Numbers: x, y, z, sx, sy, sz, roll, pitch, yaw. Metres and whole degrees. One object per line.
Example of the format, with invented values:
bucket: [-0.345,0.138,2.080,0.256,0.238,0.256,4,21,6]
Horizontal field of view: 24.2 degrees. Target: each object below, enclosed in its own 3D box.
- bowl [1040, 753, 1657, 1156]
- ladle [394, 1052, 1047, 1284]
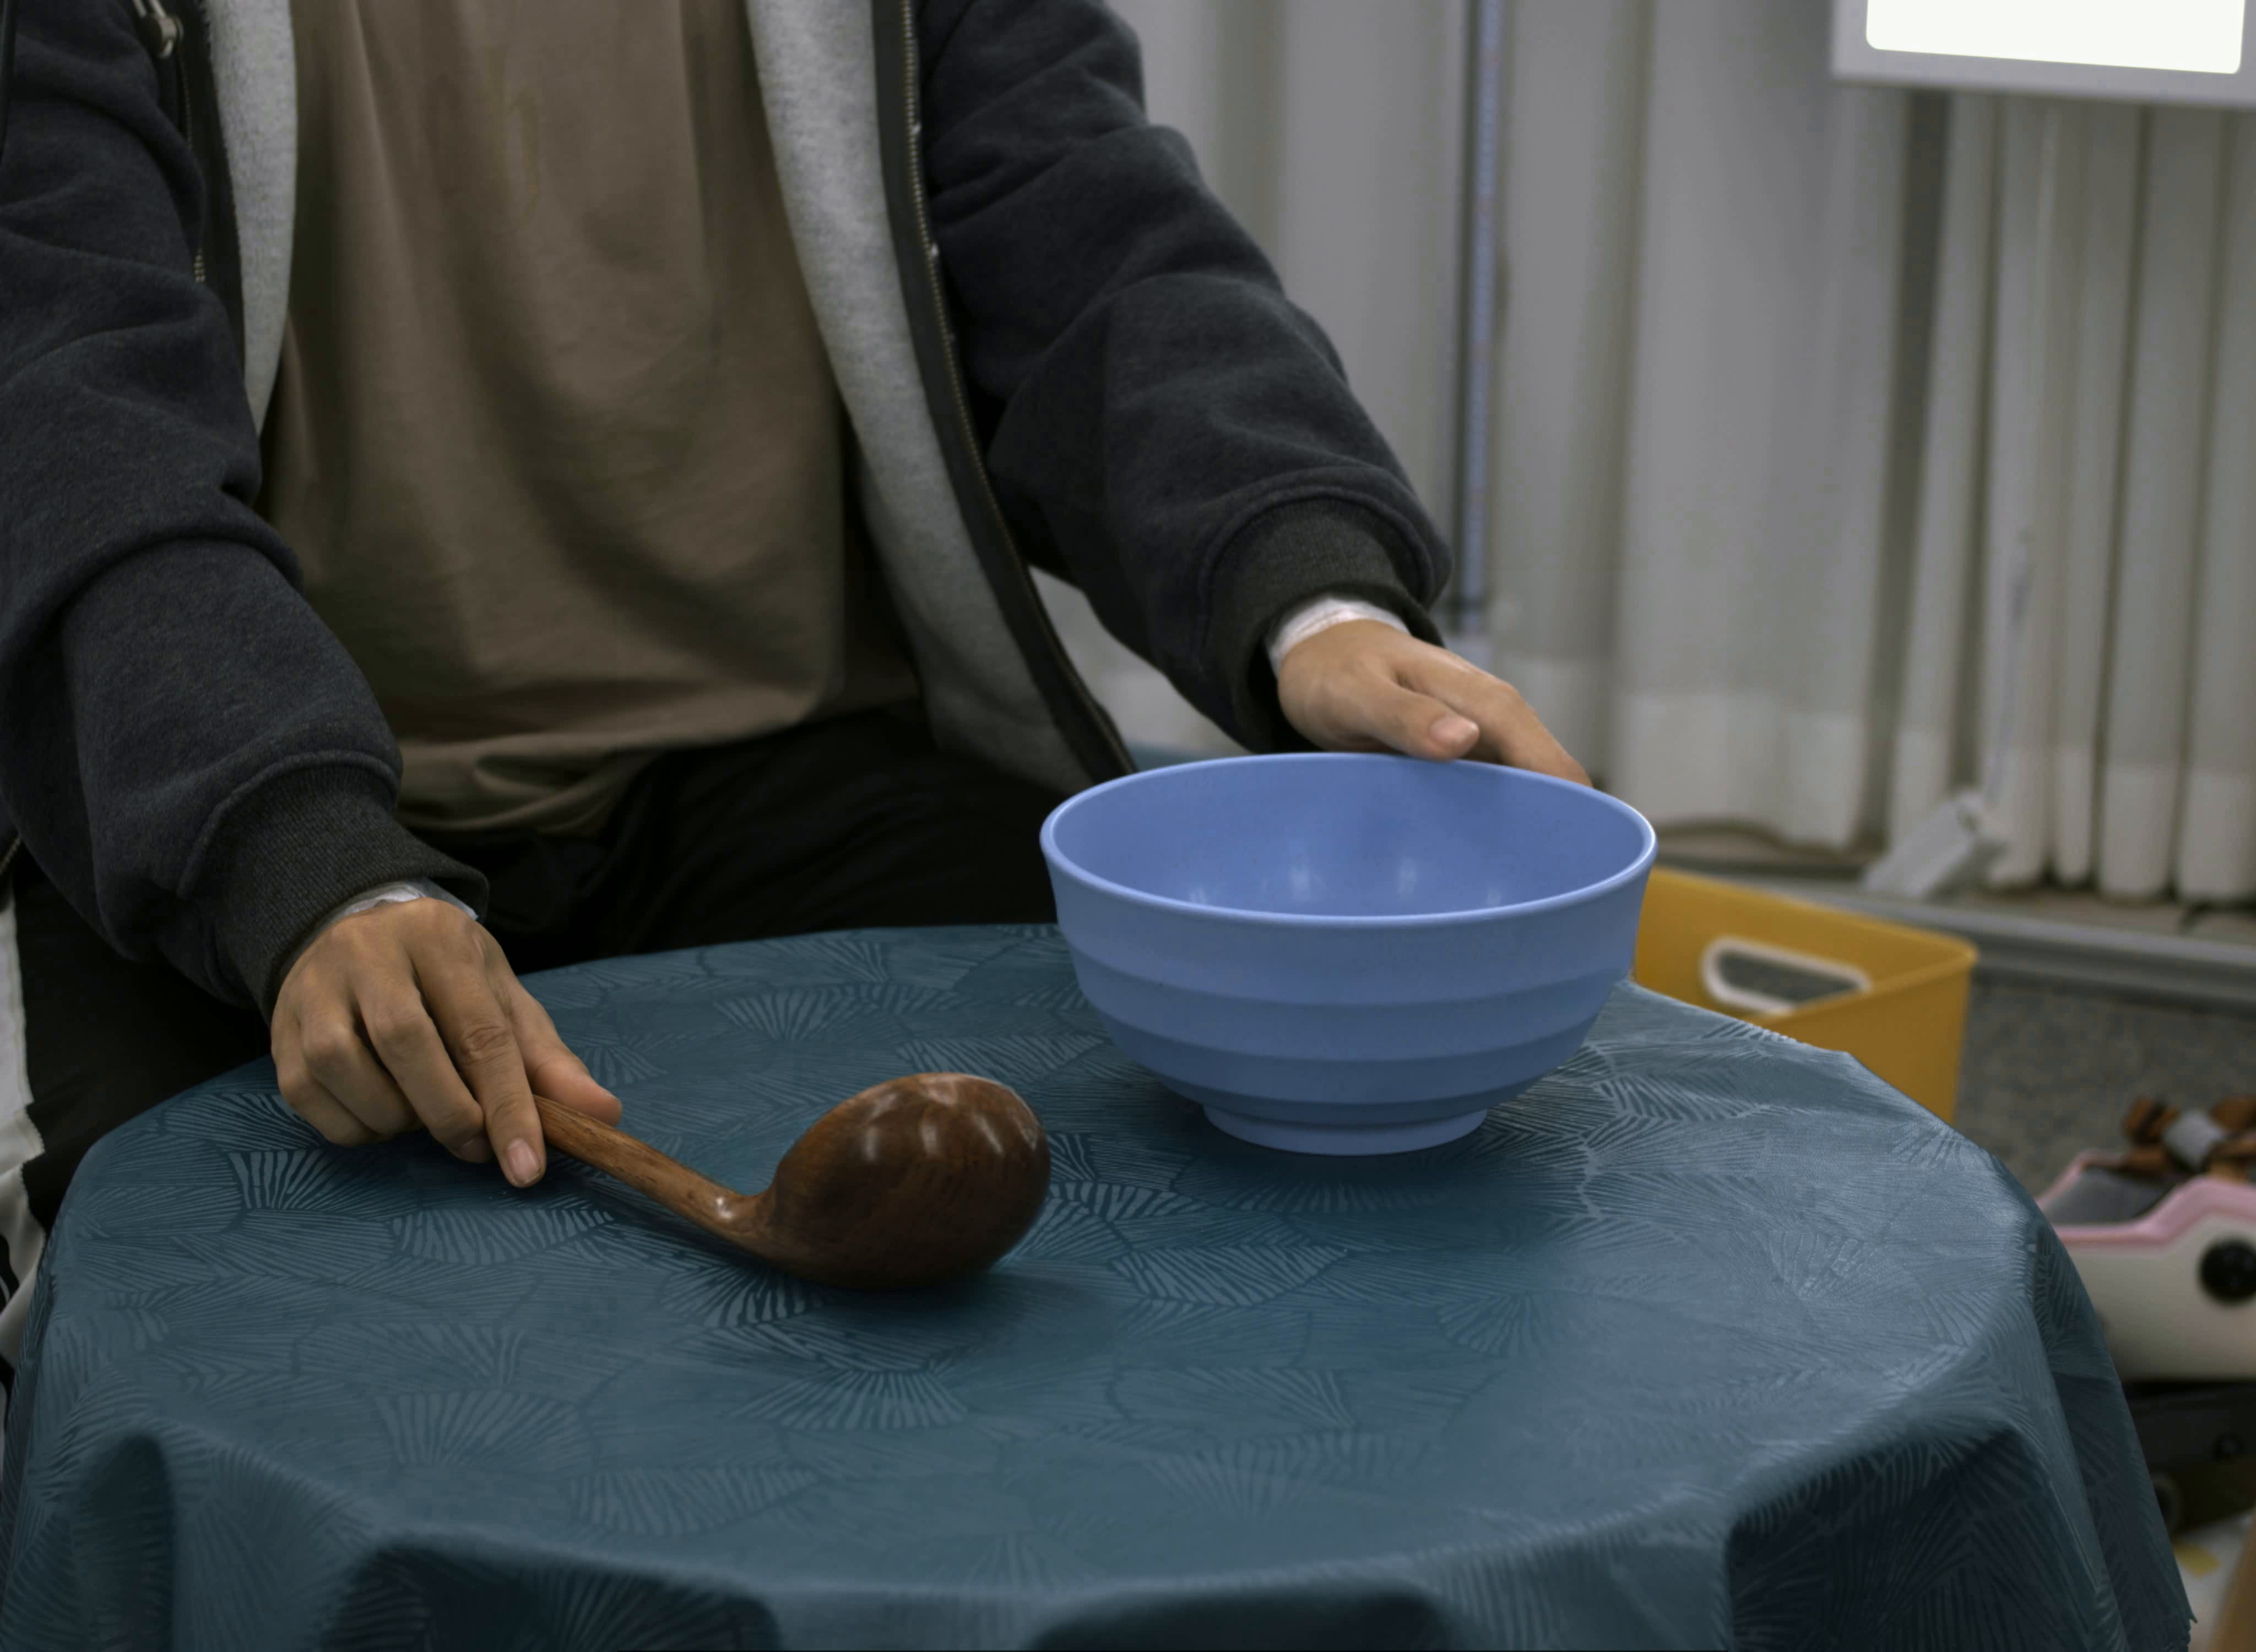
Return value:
bowl: [0.070,0.046,1.685,0.196,0.096,0.195,0,16,1]
ladle: [-0.130,0.081,1.596,0.270,0.076,0.083,16,-18,48]
